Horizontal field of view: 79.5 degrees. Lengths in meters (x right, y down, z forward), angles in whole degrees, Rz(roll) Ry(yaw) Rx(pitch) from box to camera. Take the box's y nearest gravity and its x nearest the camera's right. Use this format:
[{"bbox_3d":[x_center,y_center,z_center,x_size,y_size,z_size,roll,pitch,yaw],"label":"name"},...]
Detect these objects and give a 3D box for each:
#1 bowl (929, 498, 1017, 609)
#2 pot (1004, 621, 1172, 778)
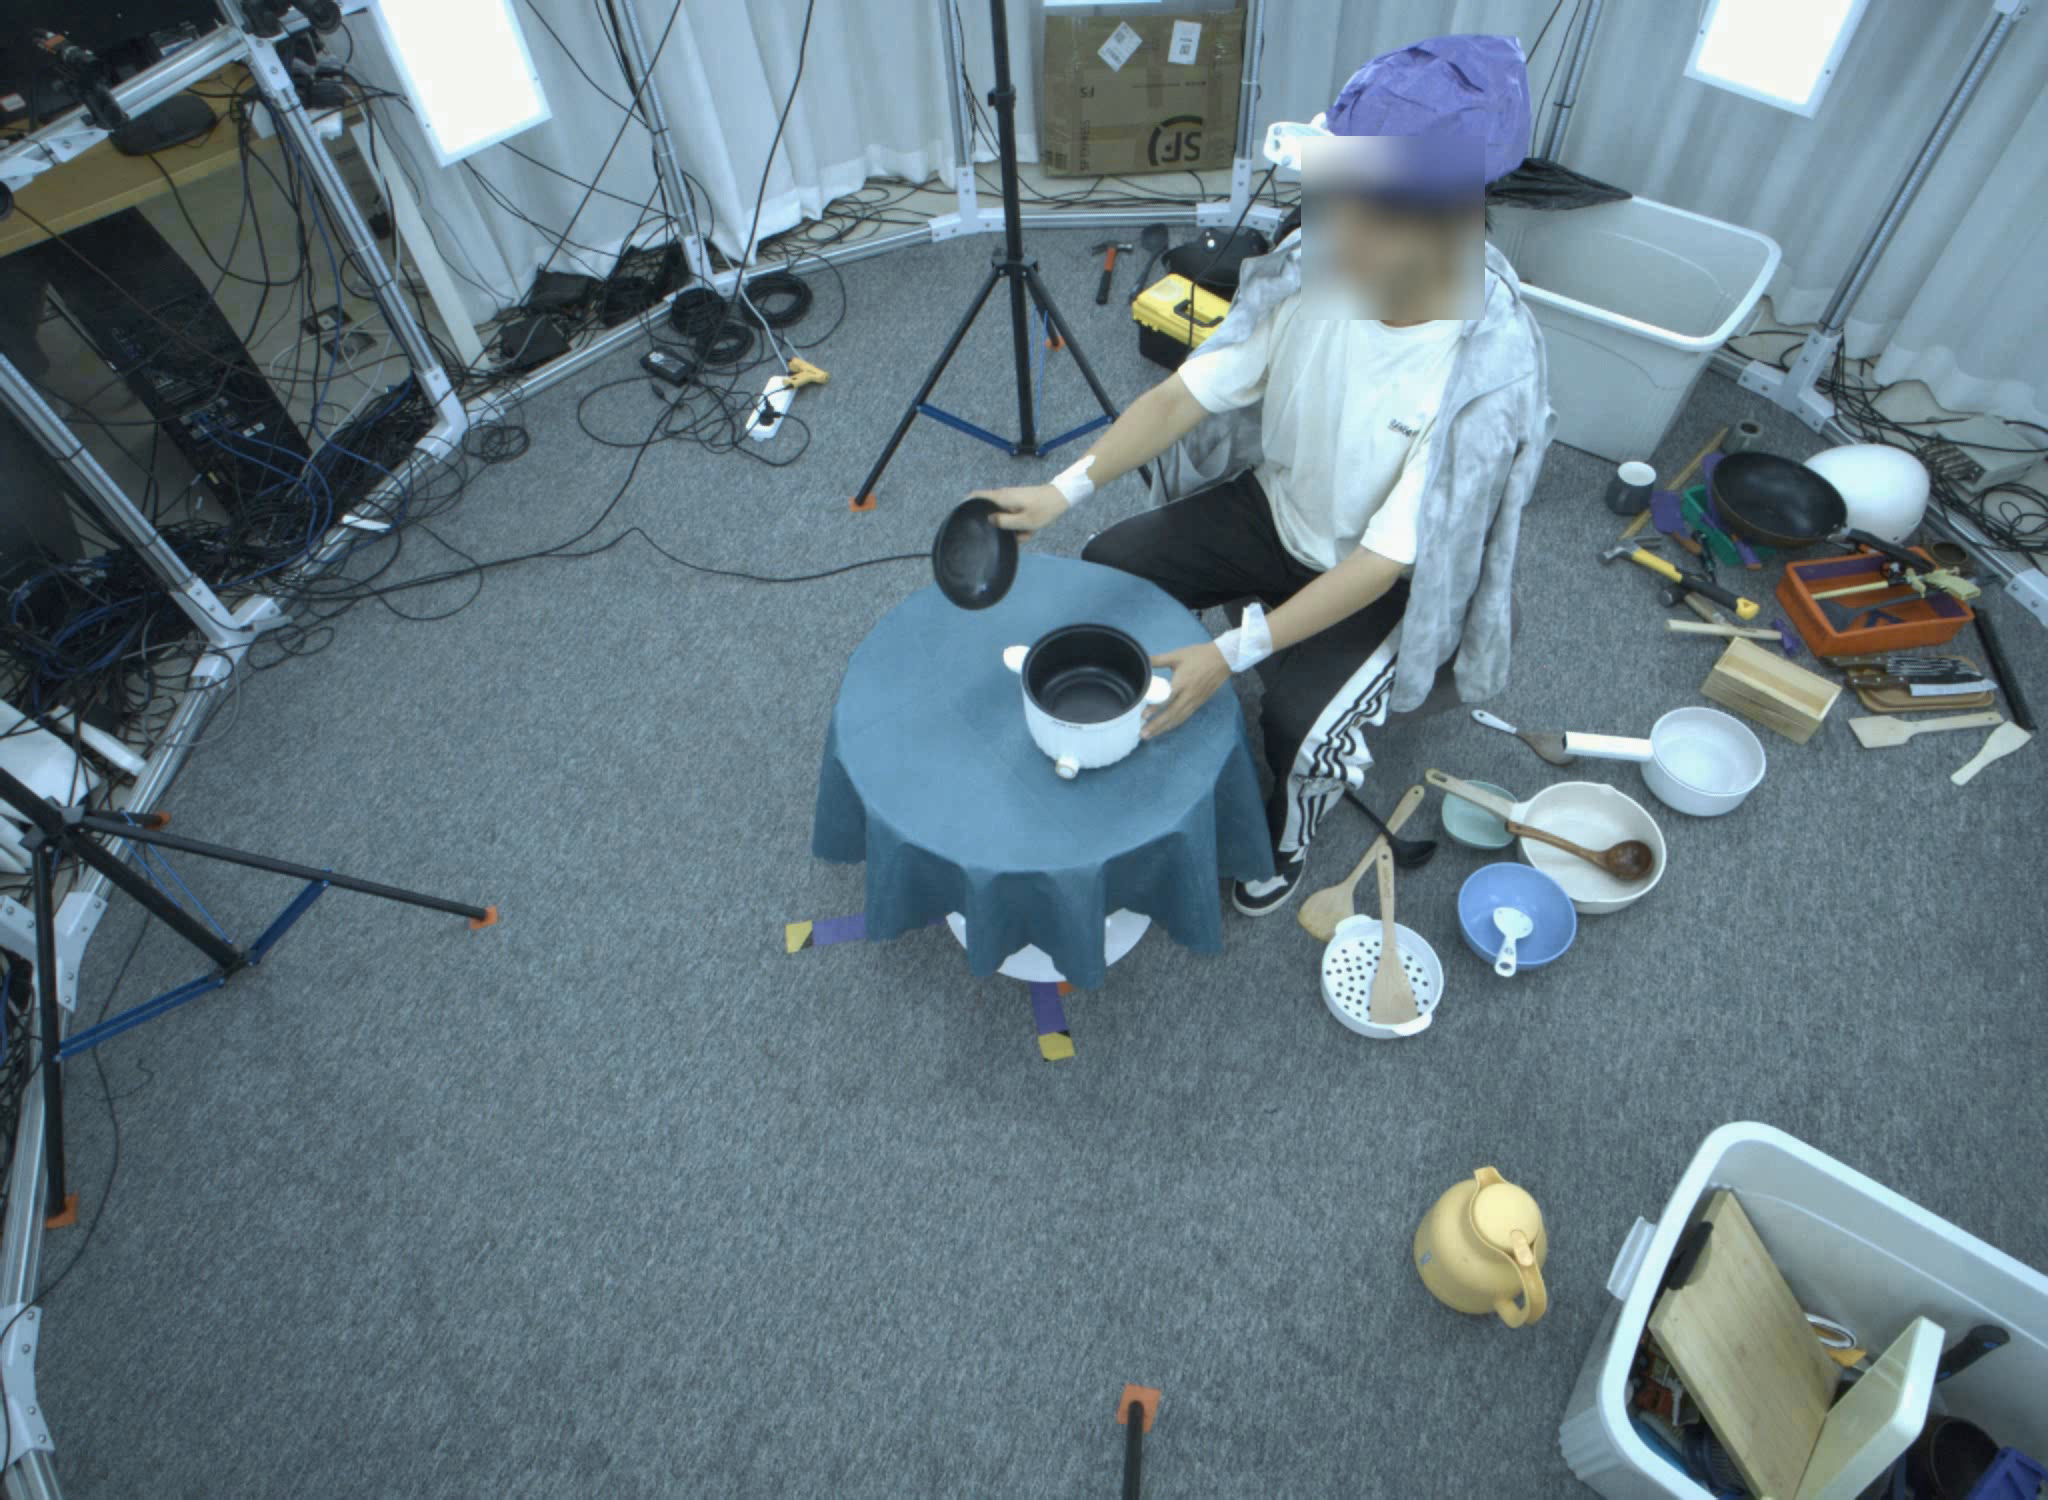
[{"bbox_3d":[-0.084,-0.280,1.751,0.065,0.140,0.170,1,67,50],"label":"bowl"},{"bbox_3d":[0.089,-0.067,1.748,0.238,0.144,0.190,13,53,12],"label":"pot"}]
